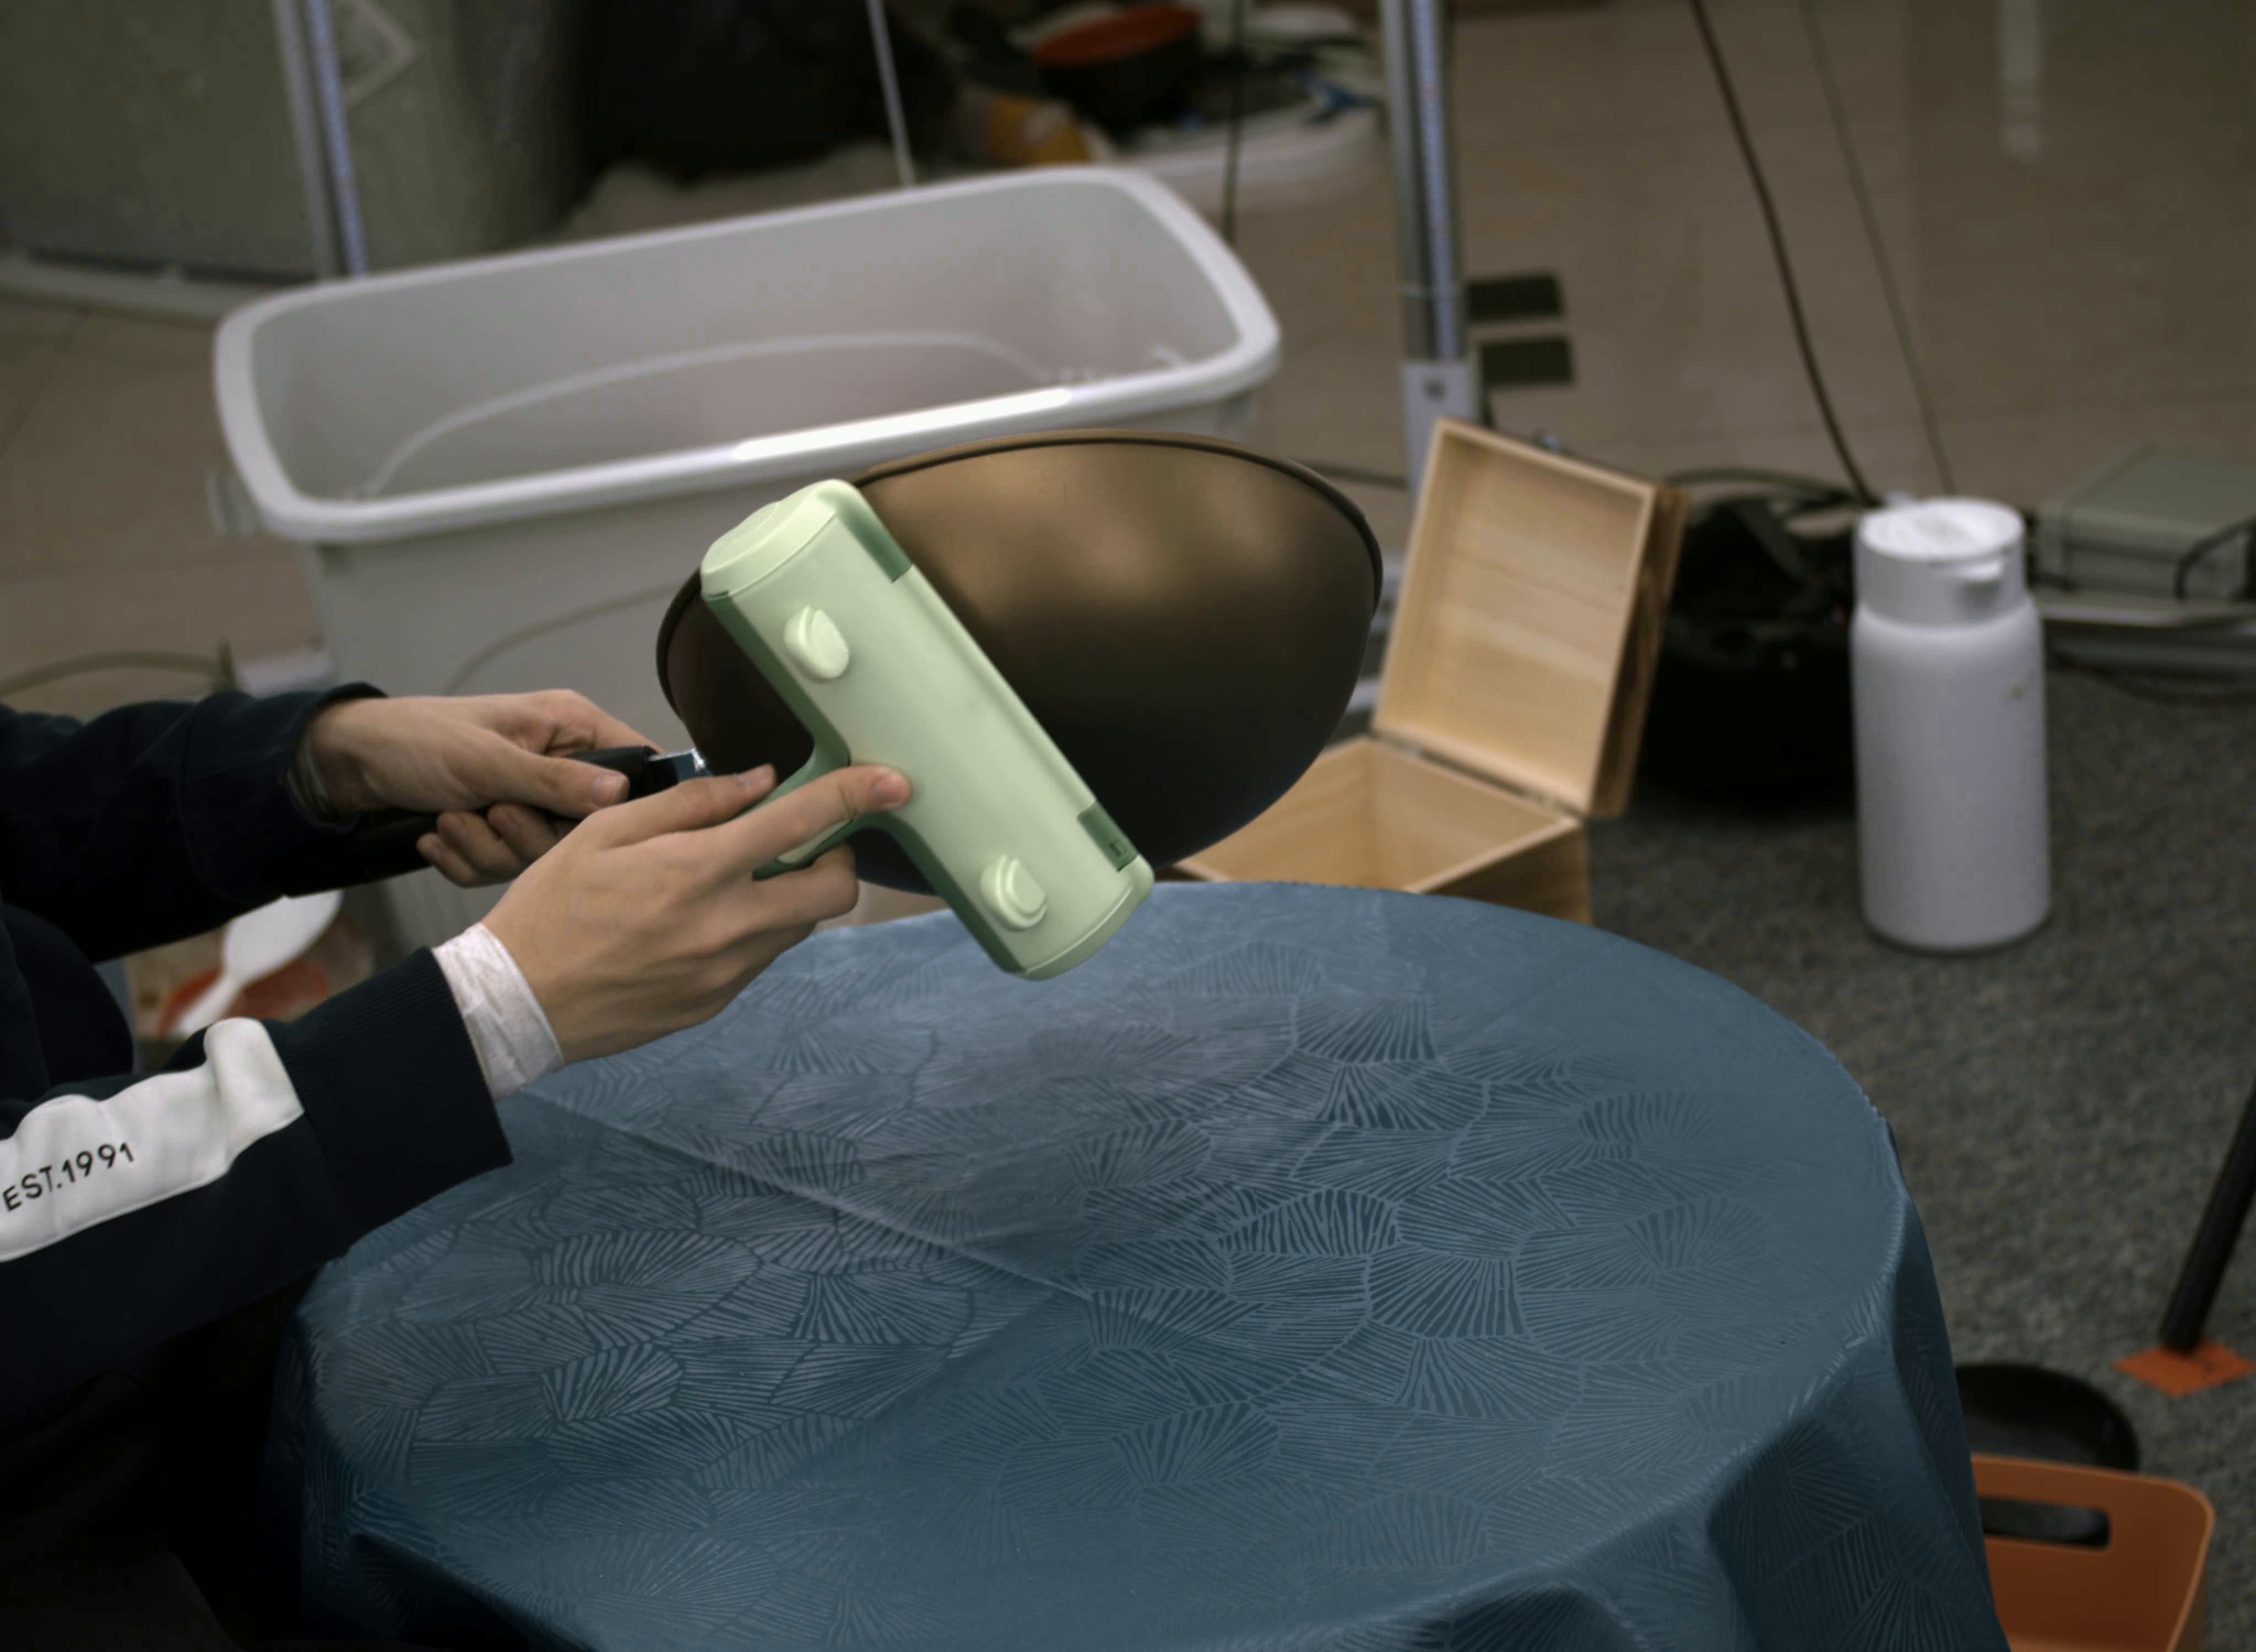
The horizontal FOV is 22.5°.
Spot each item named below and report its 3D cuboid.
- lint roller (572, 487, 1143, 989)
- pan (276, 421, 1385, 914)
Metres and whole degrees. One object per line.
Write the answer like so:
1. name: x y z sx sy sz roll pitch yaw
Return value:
1. lint roller: -0.119 0.006 2.004 0.183 0.201 0.081 -37 20 1
2. pan: -0.118 -0.017 2.145 0.464 0.291 0.086 -18 63 16
